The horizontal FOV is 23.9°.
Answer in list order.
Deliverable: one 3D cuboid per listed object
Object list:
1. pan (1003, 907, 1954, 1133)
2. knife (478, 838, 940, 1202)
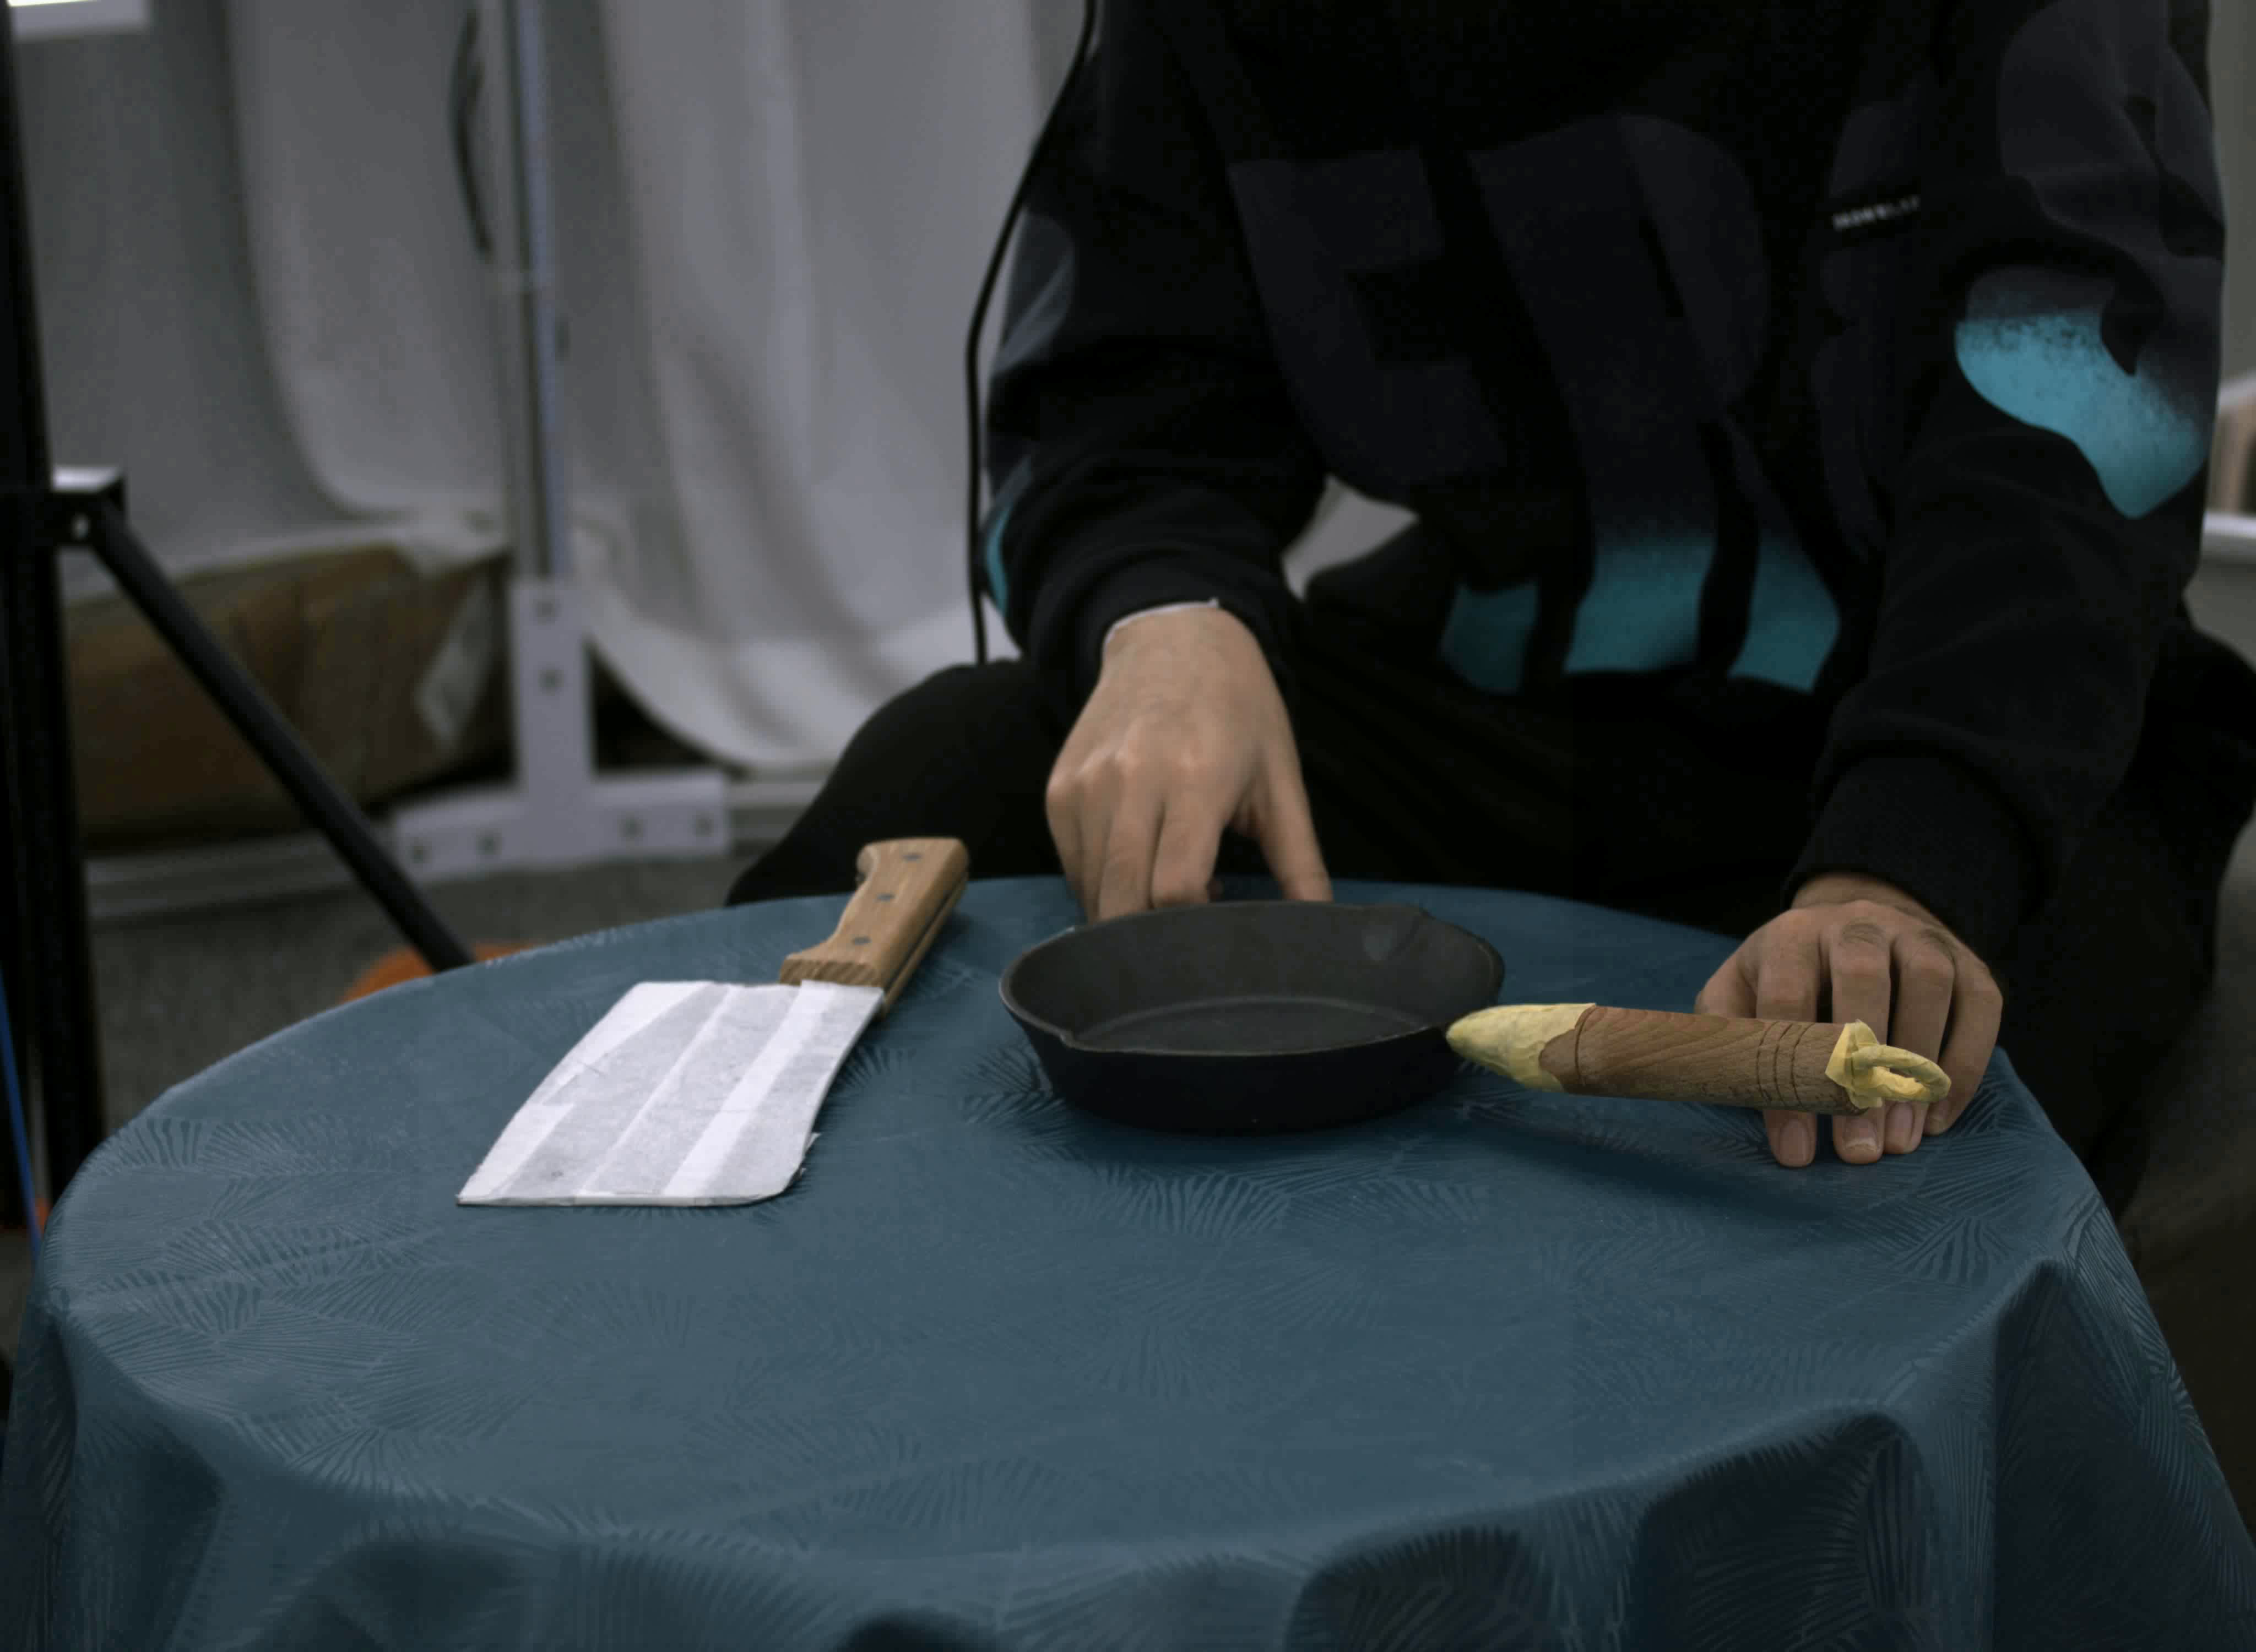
[{"bbox_3d":[0.104,0.066,1.598,0.331,0.049,0.165,9,19,40],"label":"pan"},{"bbox_3d":[-0.116,0.063,1.705,0.115,0.022,0.313,2,19,16],"label":"knife"}]
